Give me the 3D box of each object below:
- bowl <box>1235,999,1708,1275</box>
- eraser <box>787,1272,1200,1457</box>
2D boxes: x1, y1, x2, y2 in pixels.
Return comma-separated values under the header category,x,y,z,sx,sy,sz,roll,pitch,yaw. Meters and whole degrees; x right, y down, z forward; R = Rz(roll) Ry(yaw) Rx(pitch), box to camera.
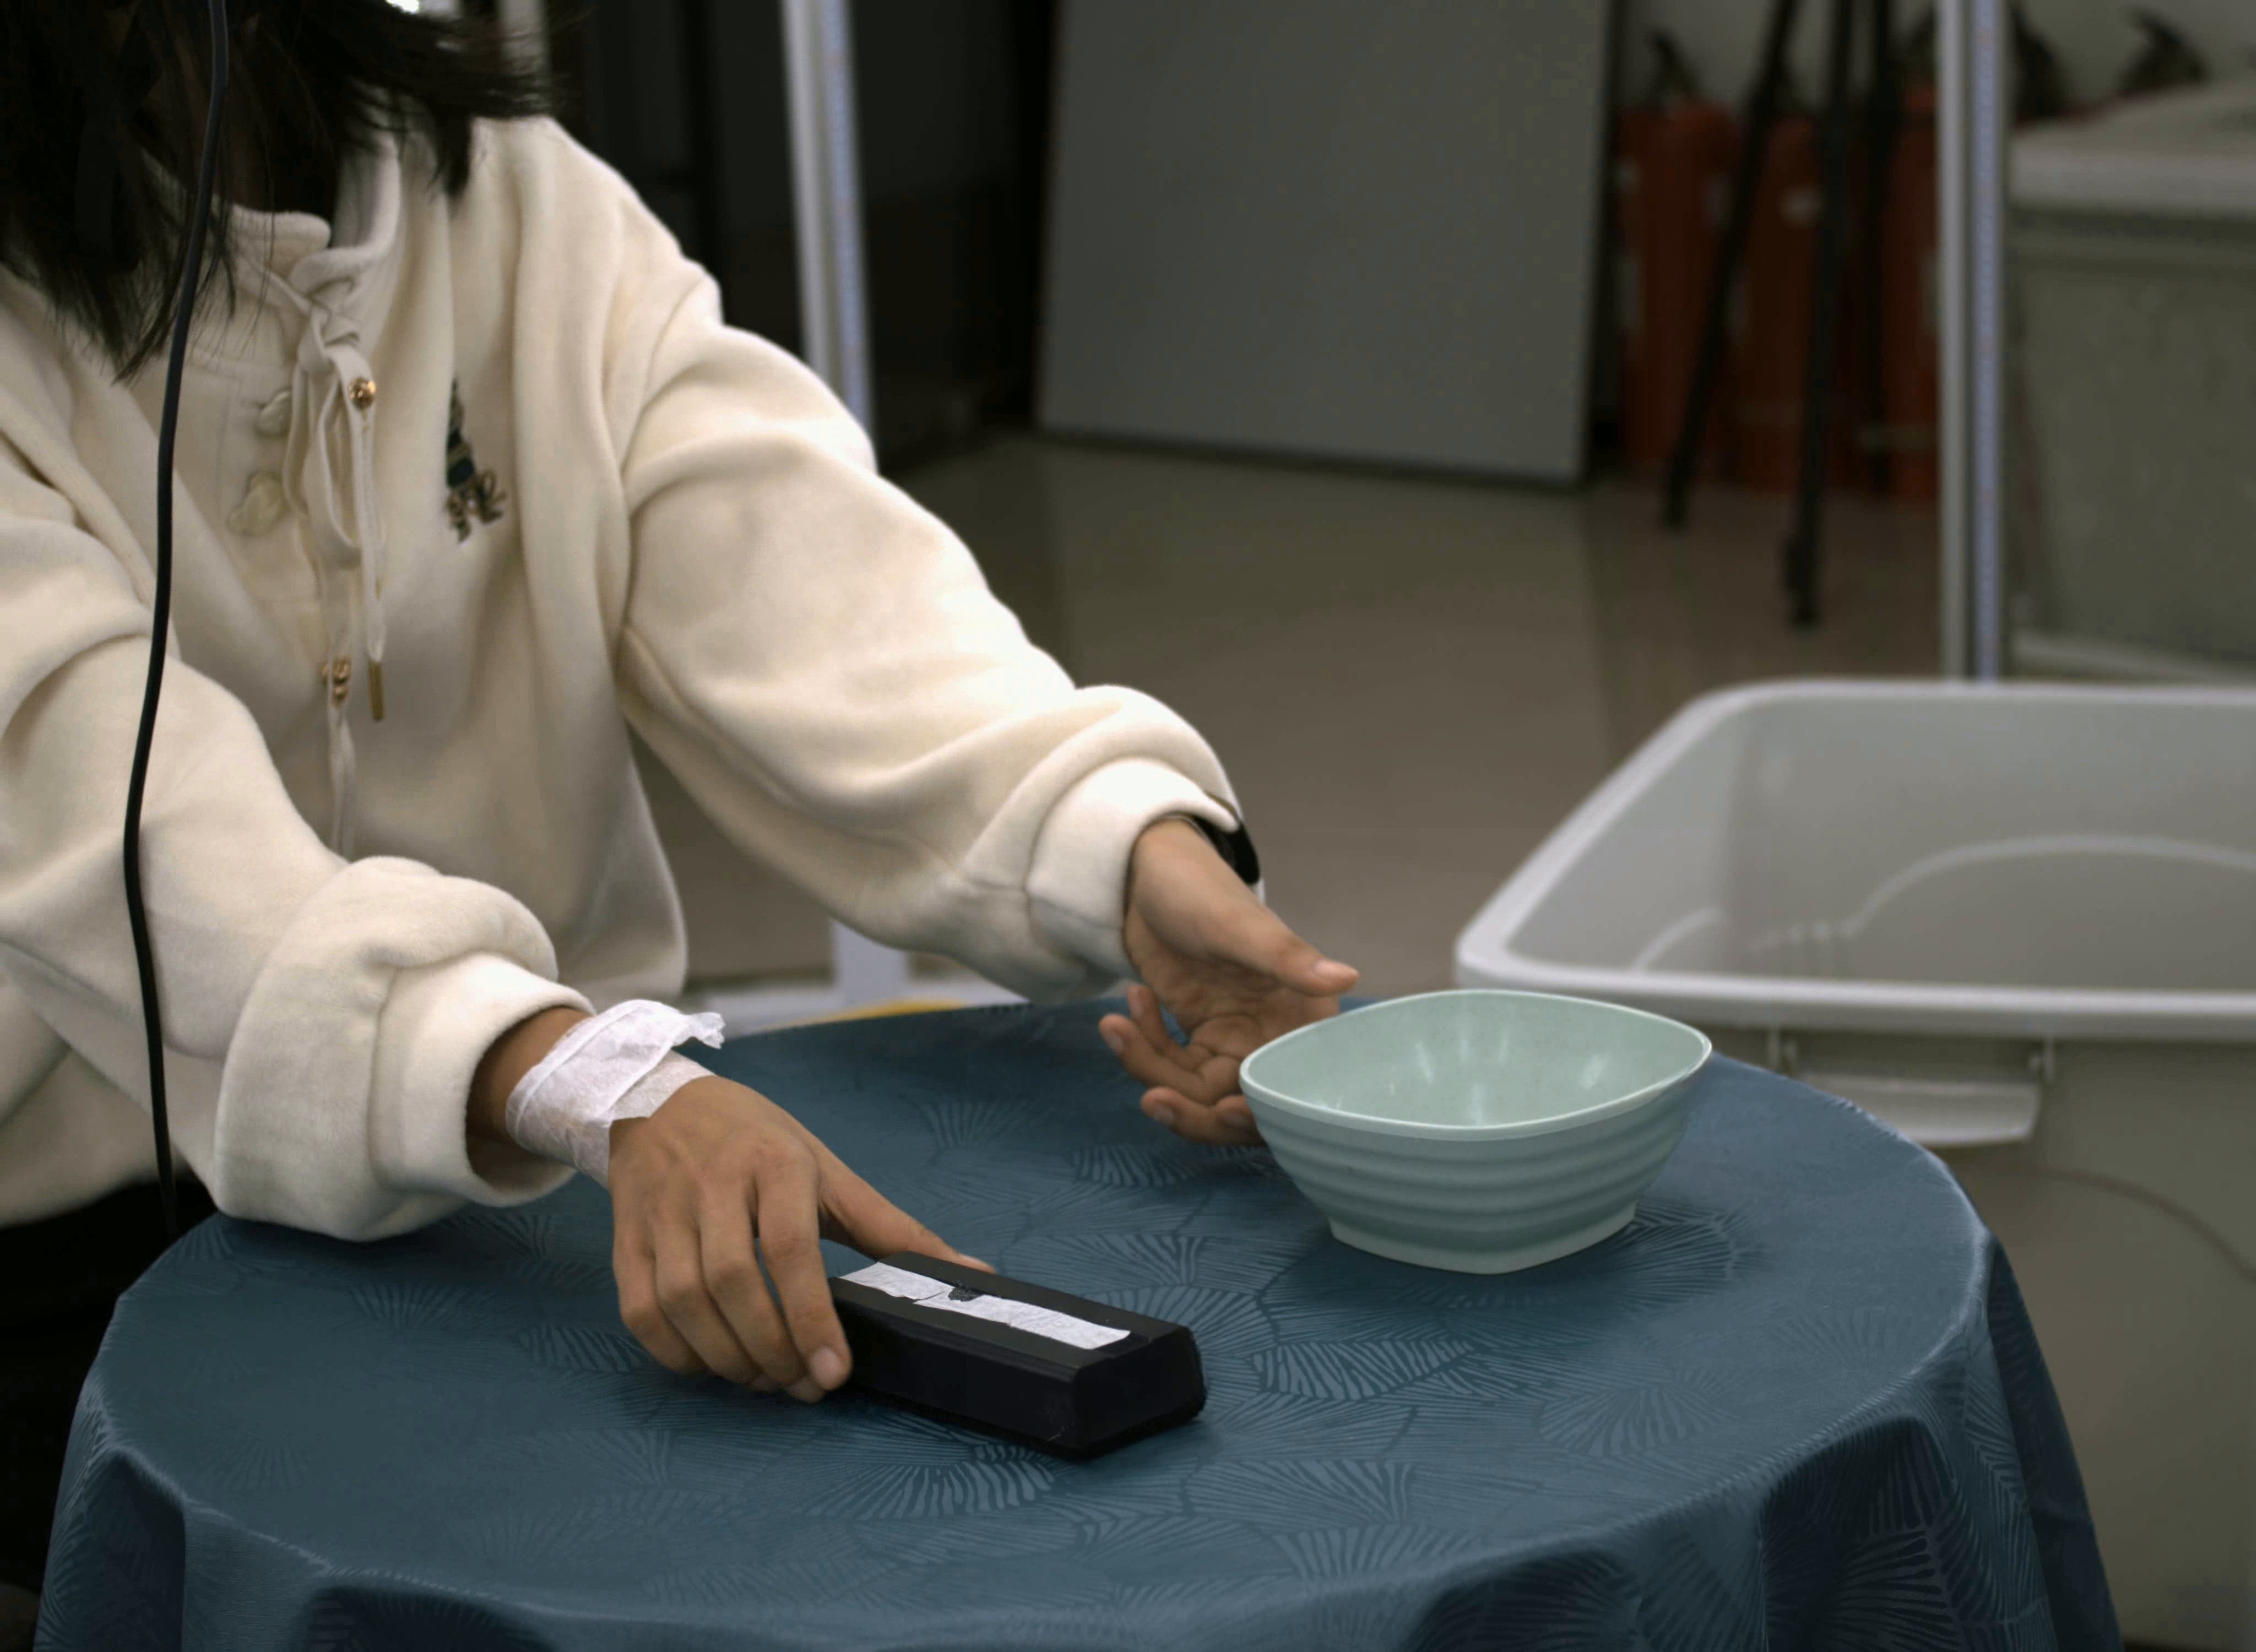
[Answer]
category,x,y,z,sx,sy,sz,roll,pitch,yaw
bowl,0.109,0.100,1.703,0.149,0.059,0.151,-2,12,-1
eraser,-0.039,0.157,1.581,0.126,0.031,0.052,6,15,45
